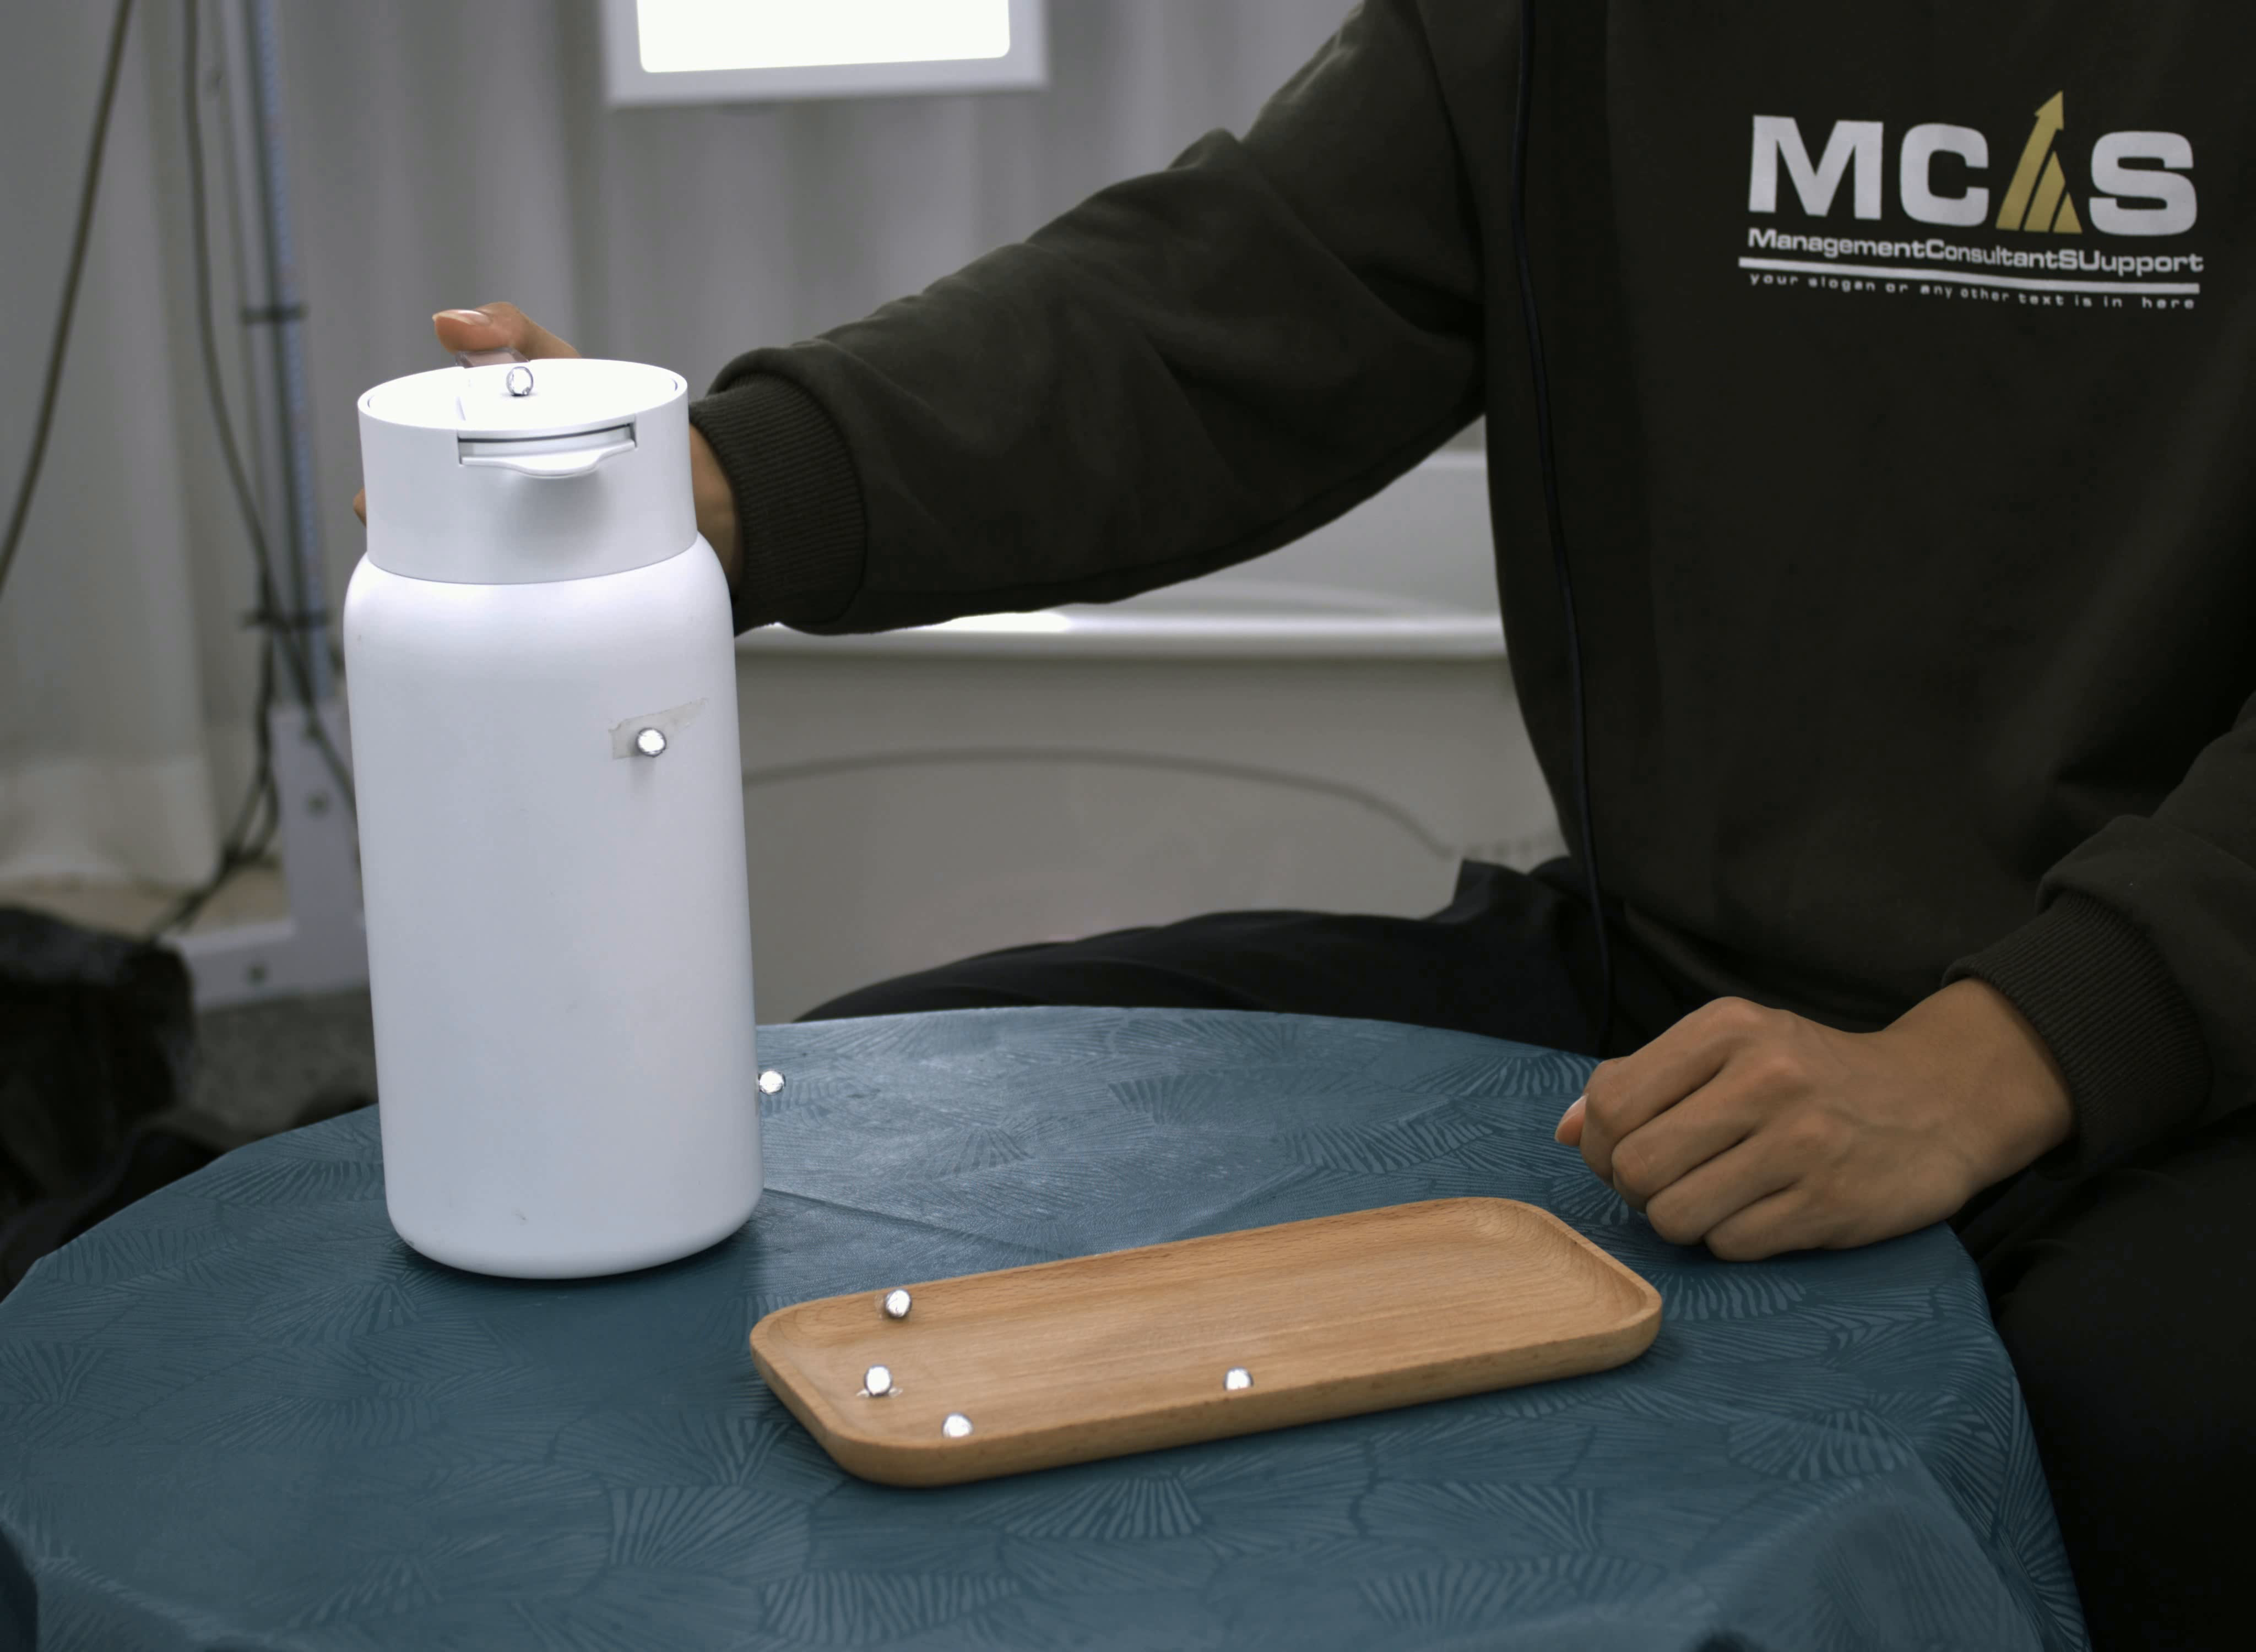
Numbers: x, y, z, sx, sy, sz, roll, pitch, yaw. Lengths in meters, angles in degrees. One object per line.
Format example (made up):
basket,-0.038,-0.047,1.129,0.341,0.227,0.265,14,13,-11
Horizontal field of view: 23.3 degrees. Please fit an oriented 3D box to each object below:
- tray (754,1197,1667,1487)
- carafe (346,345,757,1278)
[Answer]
tray,0.024,0.147,1.565,0.249,0.023,0.132,-7,18,-18
carafe,-0.182,-0.009,1.687,0.123,0.267,0.174,-8,17,-14
